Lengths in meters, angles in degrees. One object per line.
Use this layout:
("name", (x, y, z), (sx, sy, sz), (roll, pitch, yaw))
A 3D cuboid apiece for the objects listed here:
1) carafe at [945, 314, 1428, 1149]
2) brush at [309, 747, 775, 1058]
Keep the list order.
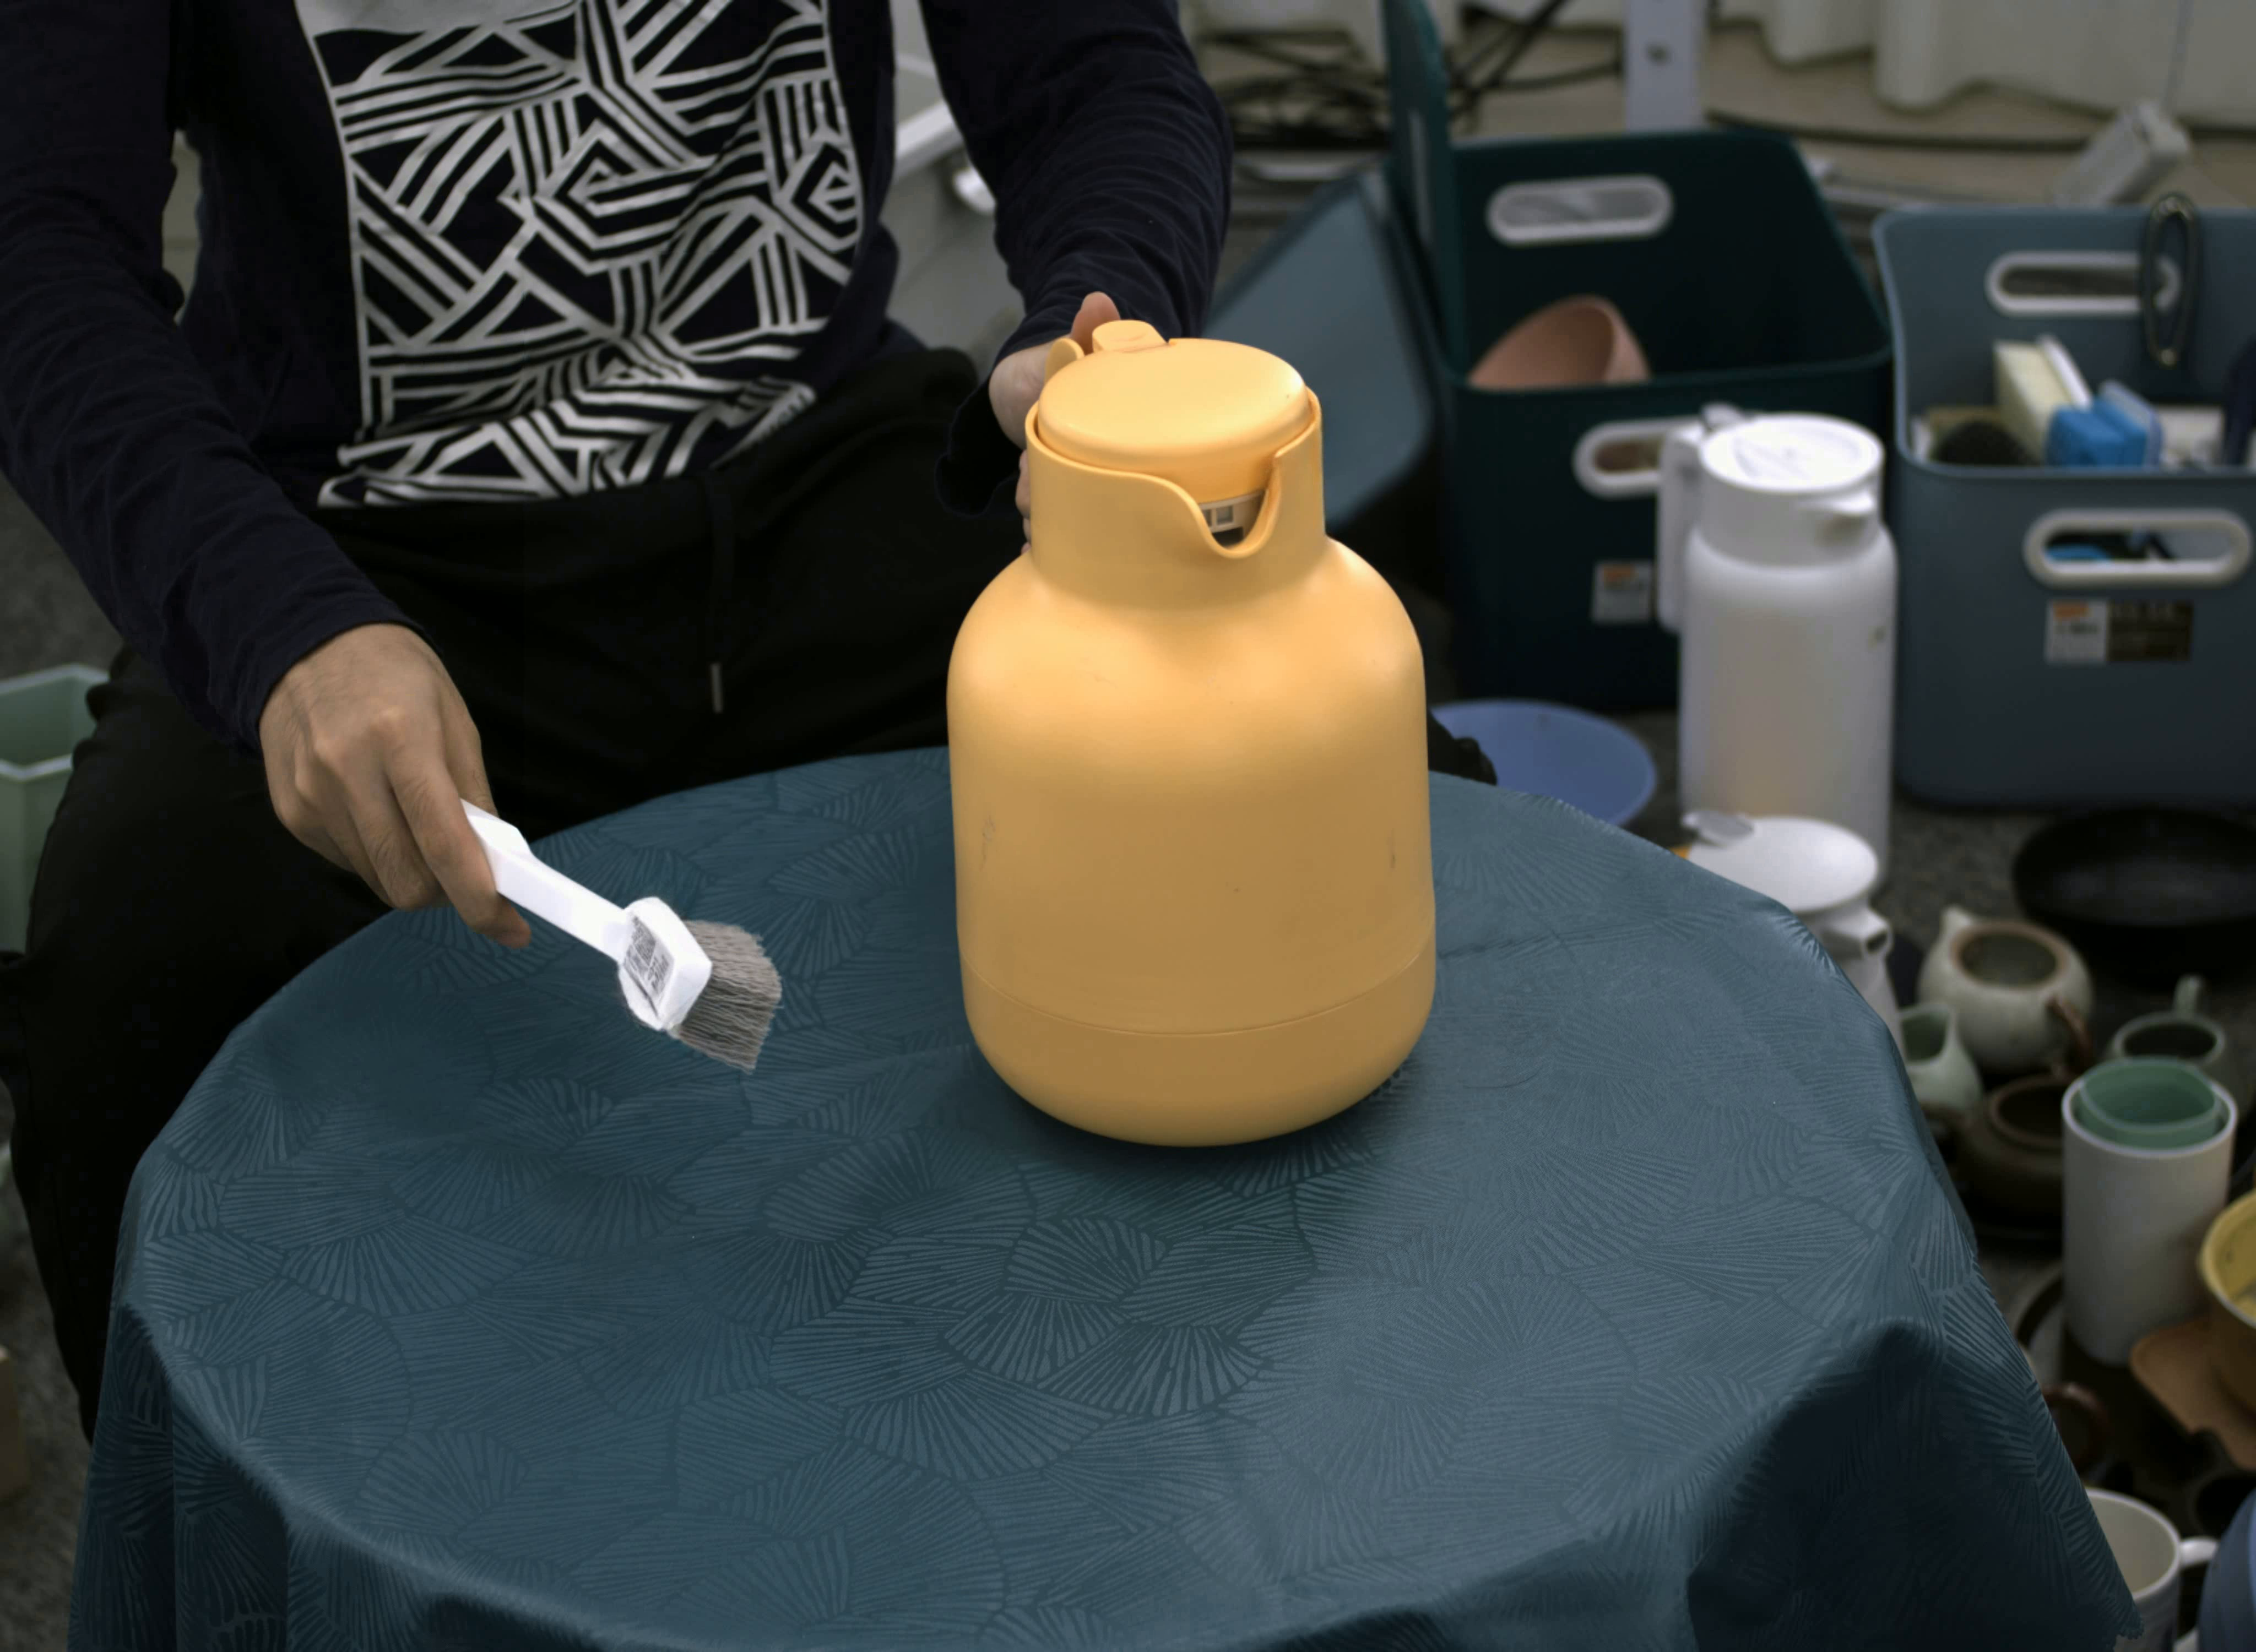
("carafe", (0.015, -0.041, 1.893), (0.163, 0.257, 0.204), (-7, 27, -14))
("brush", (-0.194, 0.022, 1.867), (0.050, 0.034, 0.244), (11, 11, -41))
